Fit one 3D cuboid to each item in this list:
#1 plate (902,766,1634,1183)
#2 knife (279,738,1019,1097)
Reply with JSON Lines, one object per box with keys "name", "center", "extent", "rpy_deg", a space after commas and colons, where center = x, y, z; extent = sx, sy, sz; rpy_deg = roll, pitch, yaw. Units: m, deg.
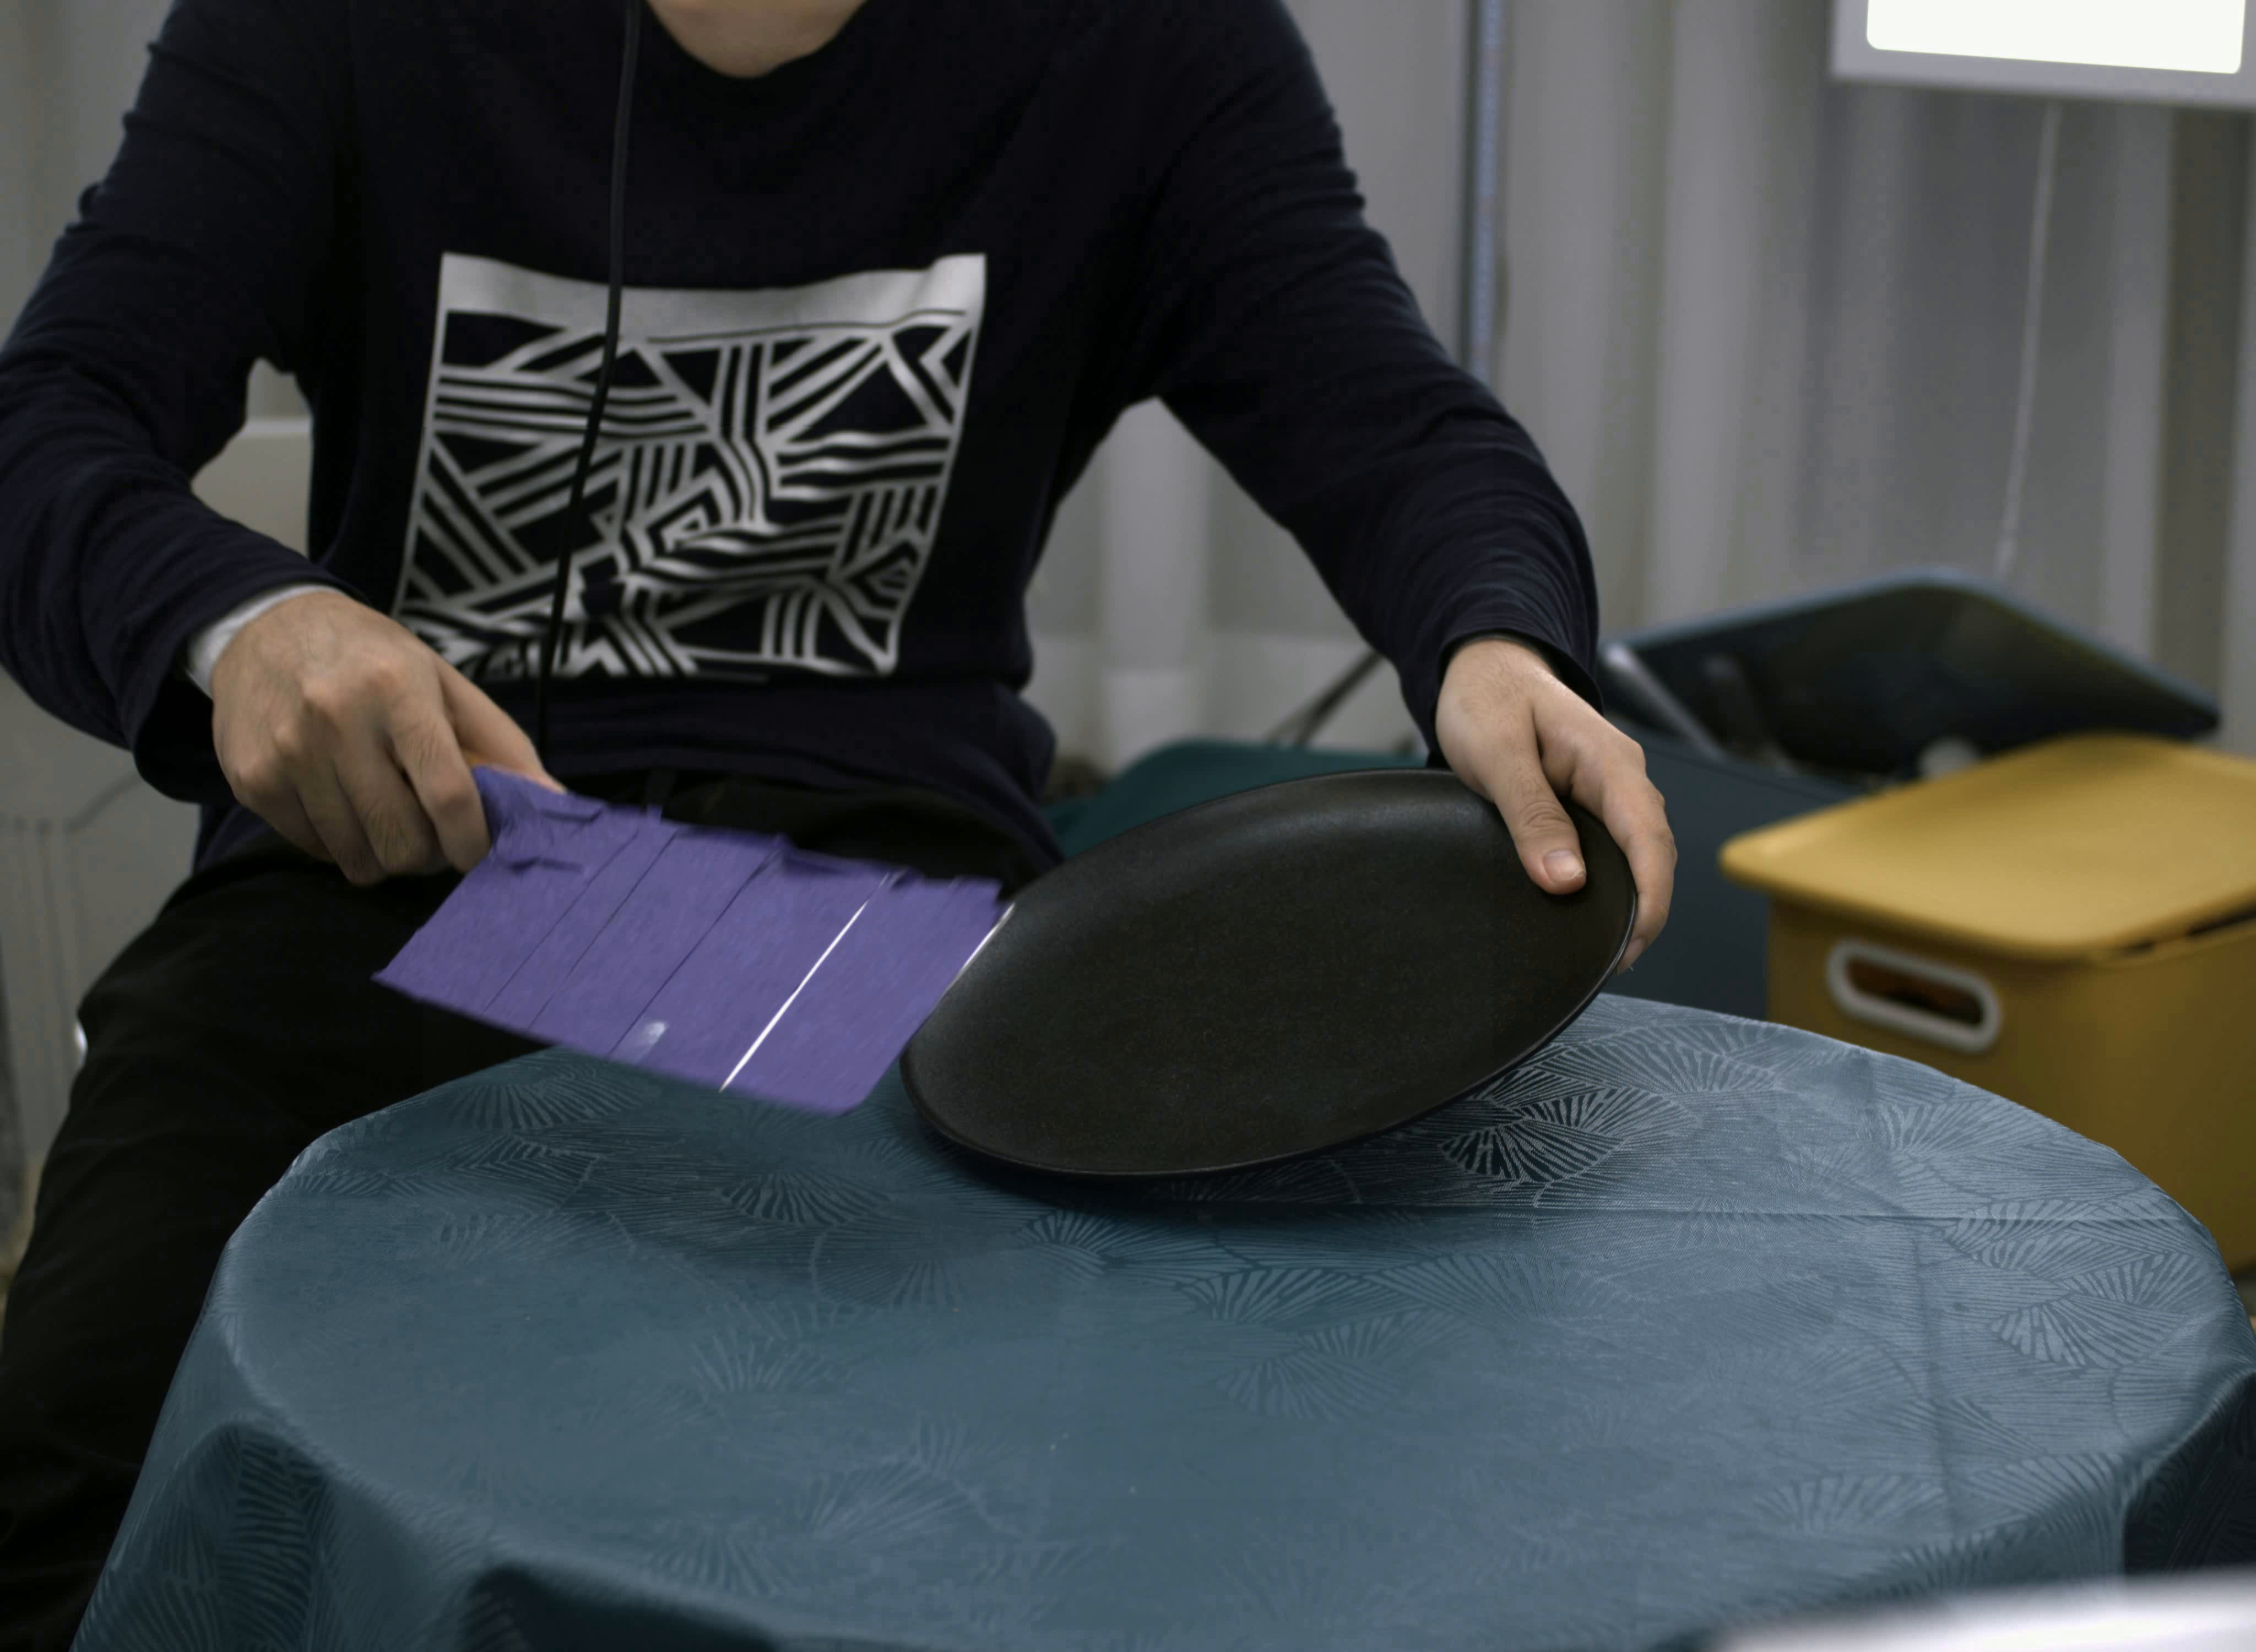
{"name": "plate", "center": [0.046, 0.051, 1.693], "extent": [0.243, 0.024, 0.242], "rpy_deg": [-13, 27, 8]}
{"name": "knife", "center": [-0.174, 0.026, 1.630], "extent": [0.311, 0.032, 0.104], "rpy_deg": [11, 50, 41]}
